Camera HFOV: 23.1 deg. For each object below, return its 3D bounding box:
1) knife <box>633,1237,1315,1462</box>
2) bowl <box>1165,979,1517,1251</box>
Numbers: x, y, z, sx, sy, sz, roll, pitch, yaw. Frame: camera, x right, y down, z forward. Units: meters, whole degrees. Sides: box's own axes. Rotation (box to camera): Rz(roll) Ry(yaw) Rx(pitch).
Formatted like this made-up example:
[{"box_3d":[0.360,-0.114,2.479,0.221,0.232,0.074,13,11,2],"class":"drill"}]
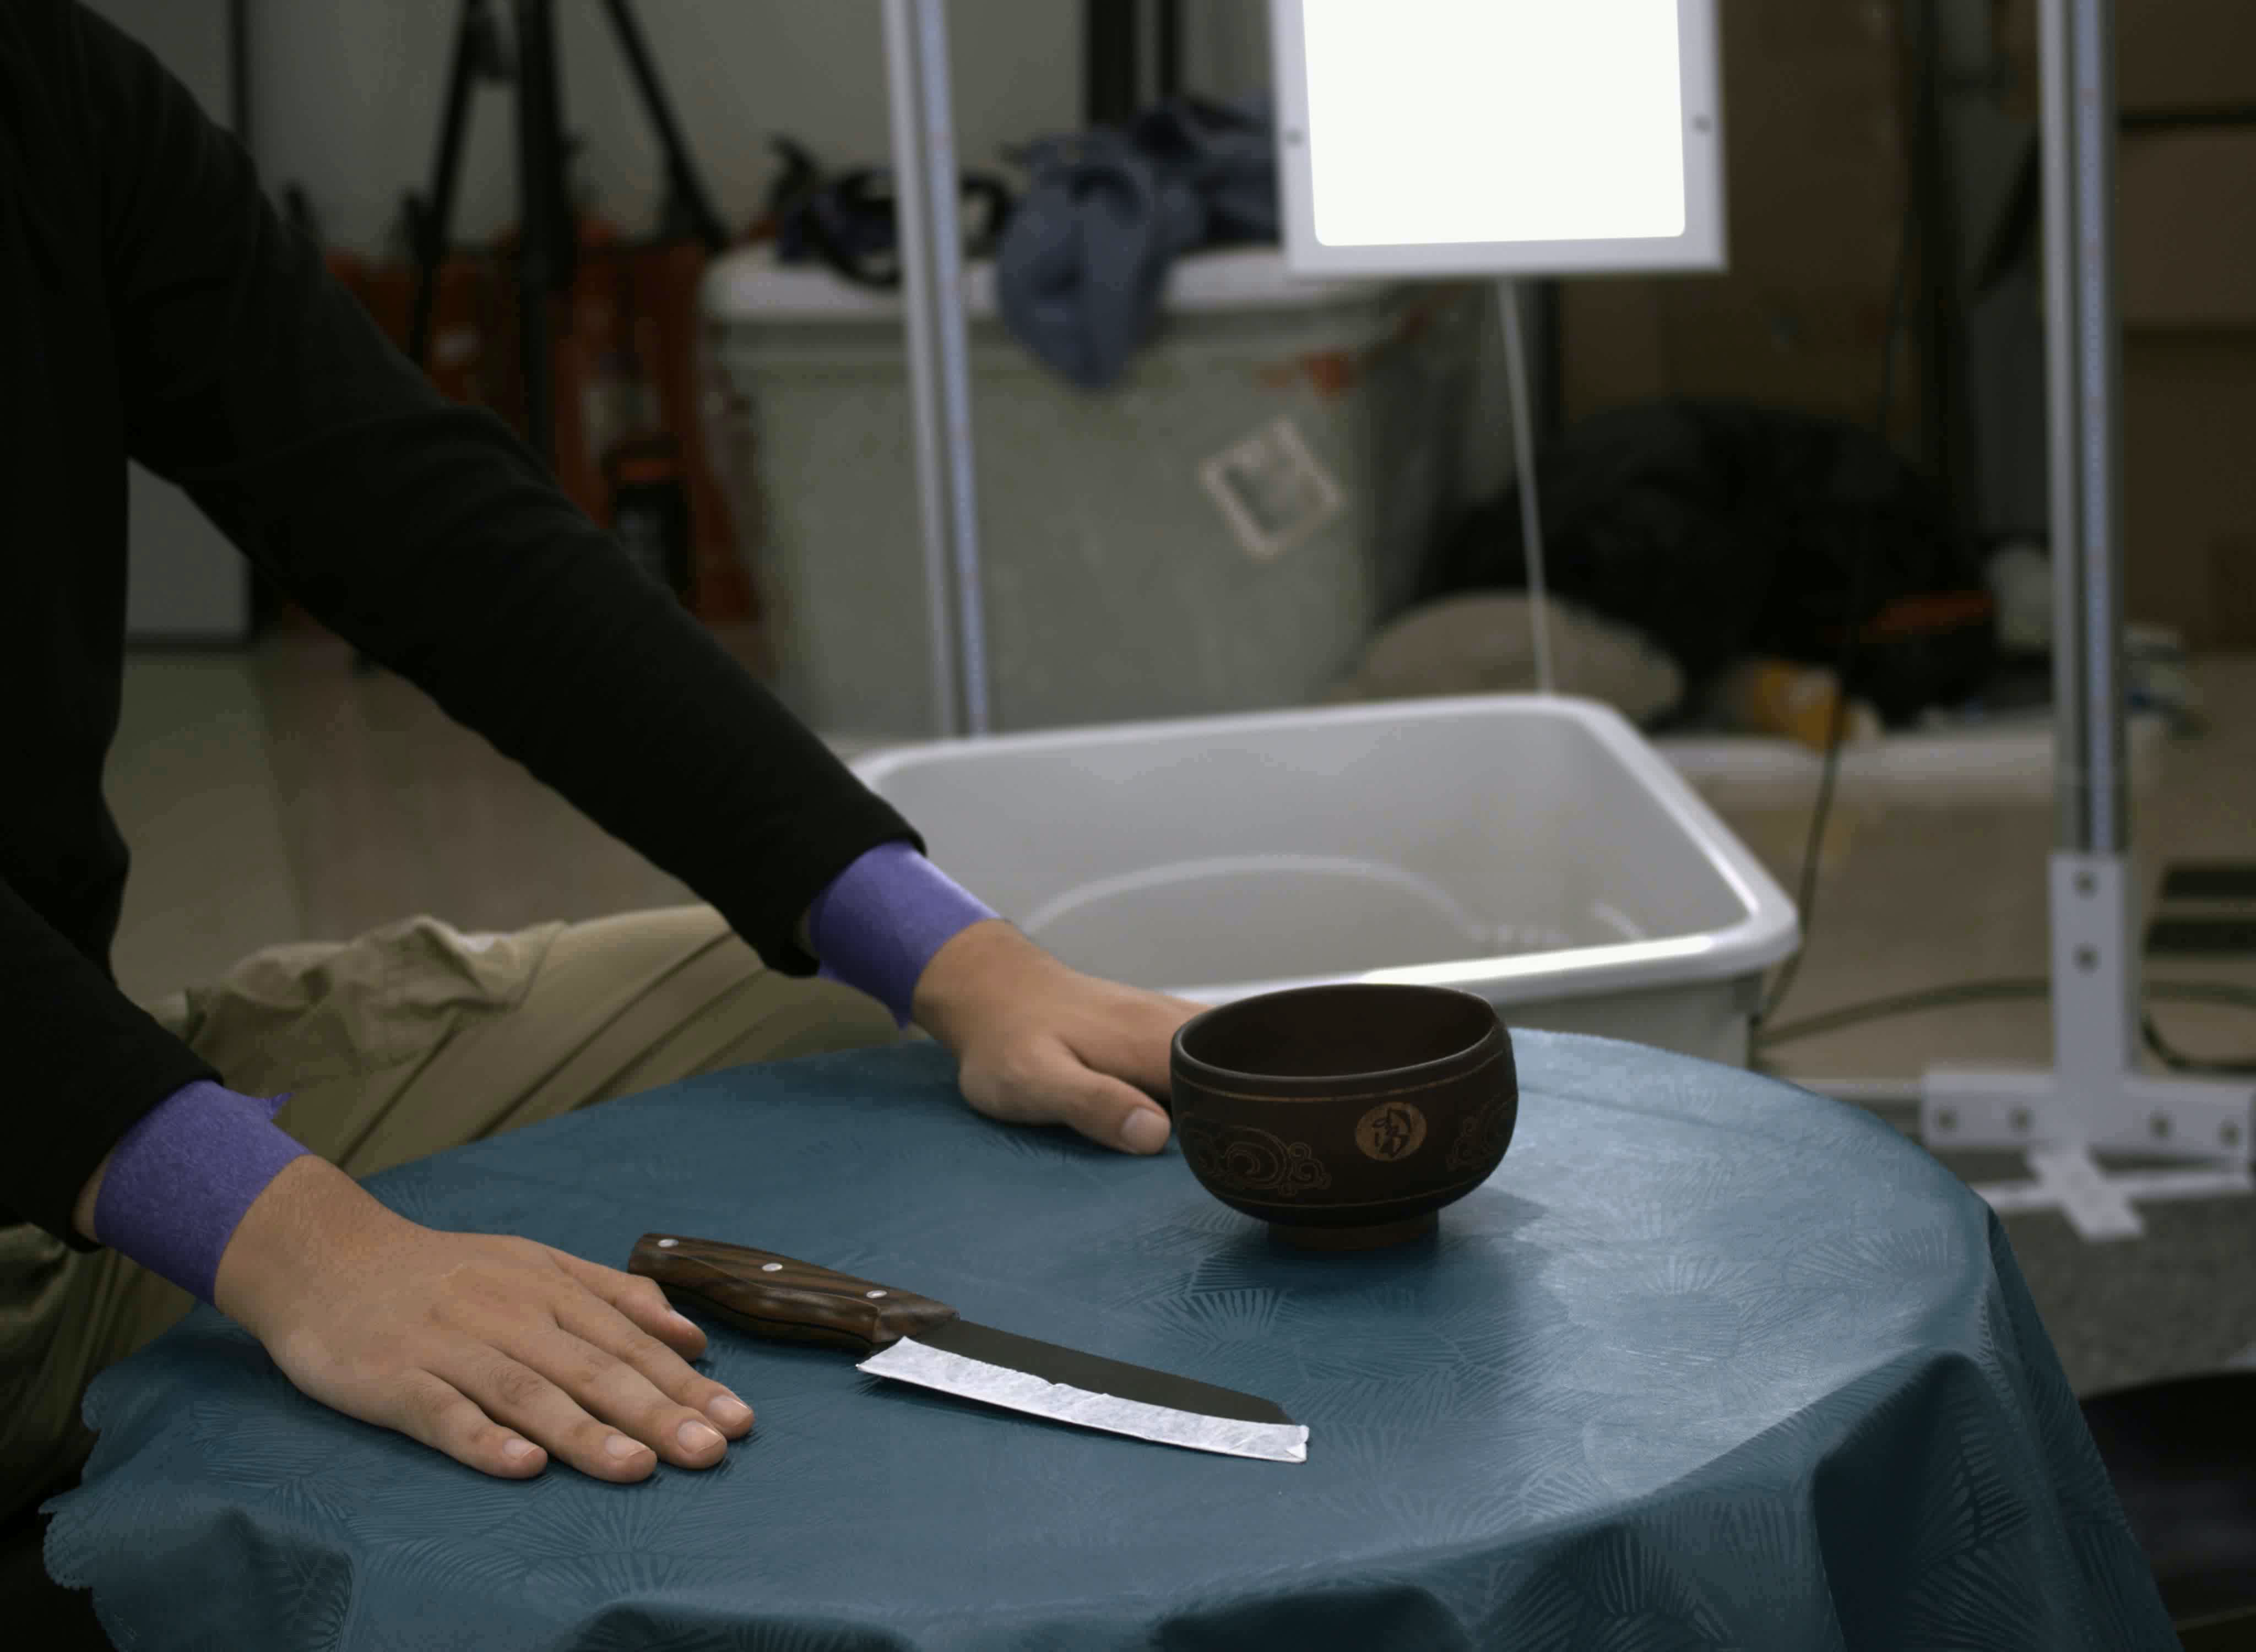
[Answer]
[{"box_3d":[-0.053,0.166,1.728,0.295,0.020,0.049,11,25,42],"class":"knife"},{"box_3d":[0.073,0.100,1.834,0.118,0.070,0.118,-6,14,0],"class":"bowl"}]
